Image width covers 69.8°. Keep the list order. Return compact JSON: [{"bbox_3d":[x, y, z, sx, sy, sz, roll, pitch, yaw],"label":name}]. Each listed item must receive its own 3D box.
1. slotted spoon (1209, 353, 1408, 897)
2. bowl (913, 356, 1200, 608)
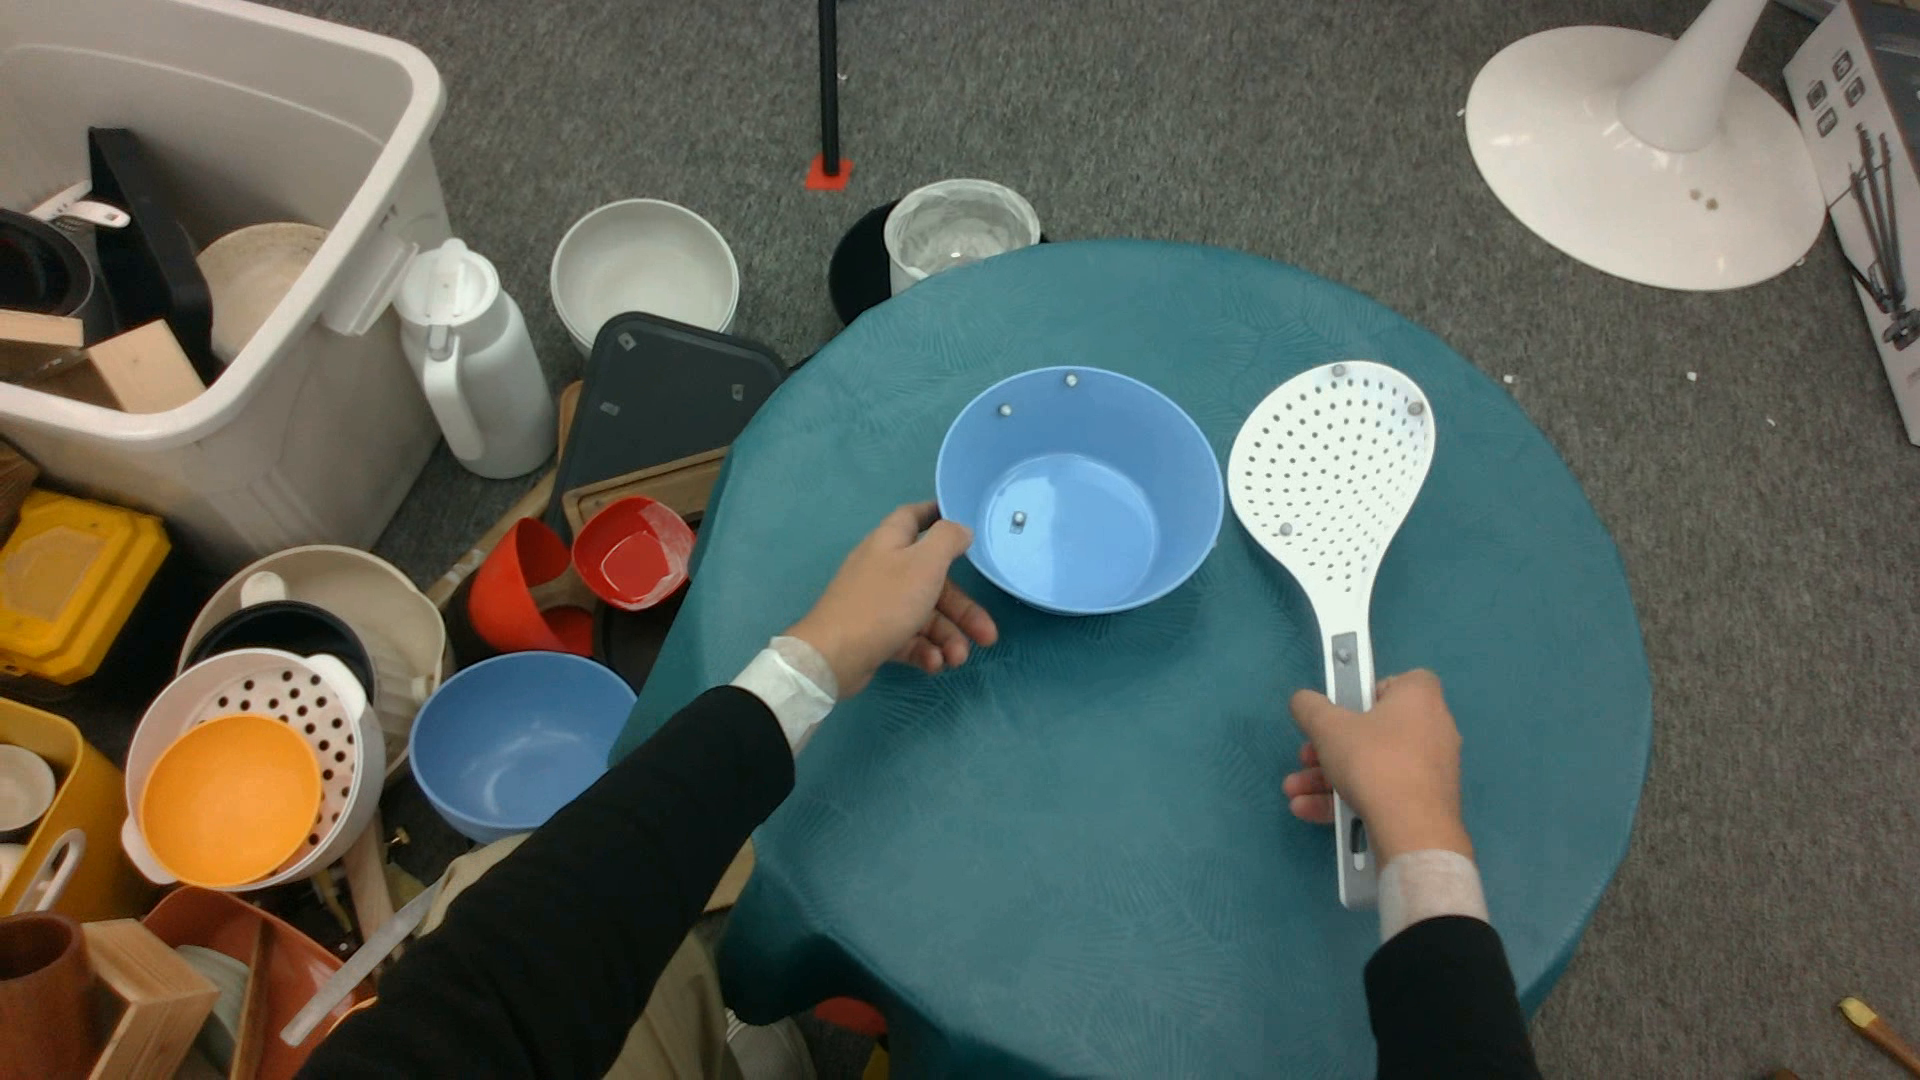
[{"bbox_3d":[0.218,0.038,0.828,0.135,0.045,0.351,-18,50,33],"label":"slotted spoon"},{"bbox_3d":[0.057,-0.024,0.859,0.176,0.070,0.177,2,62,-4],"label":"bowl"}]
